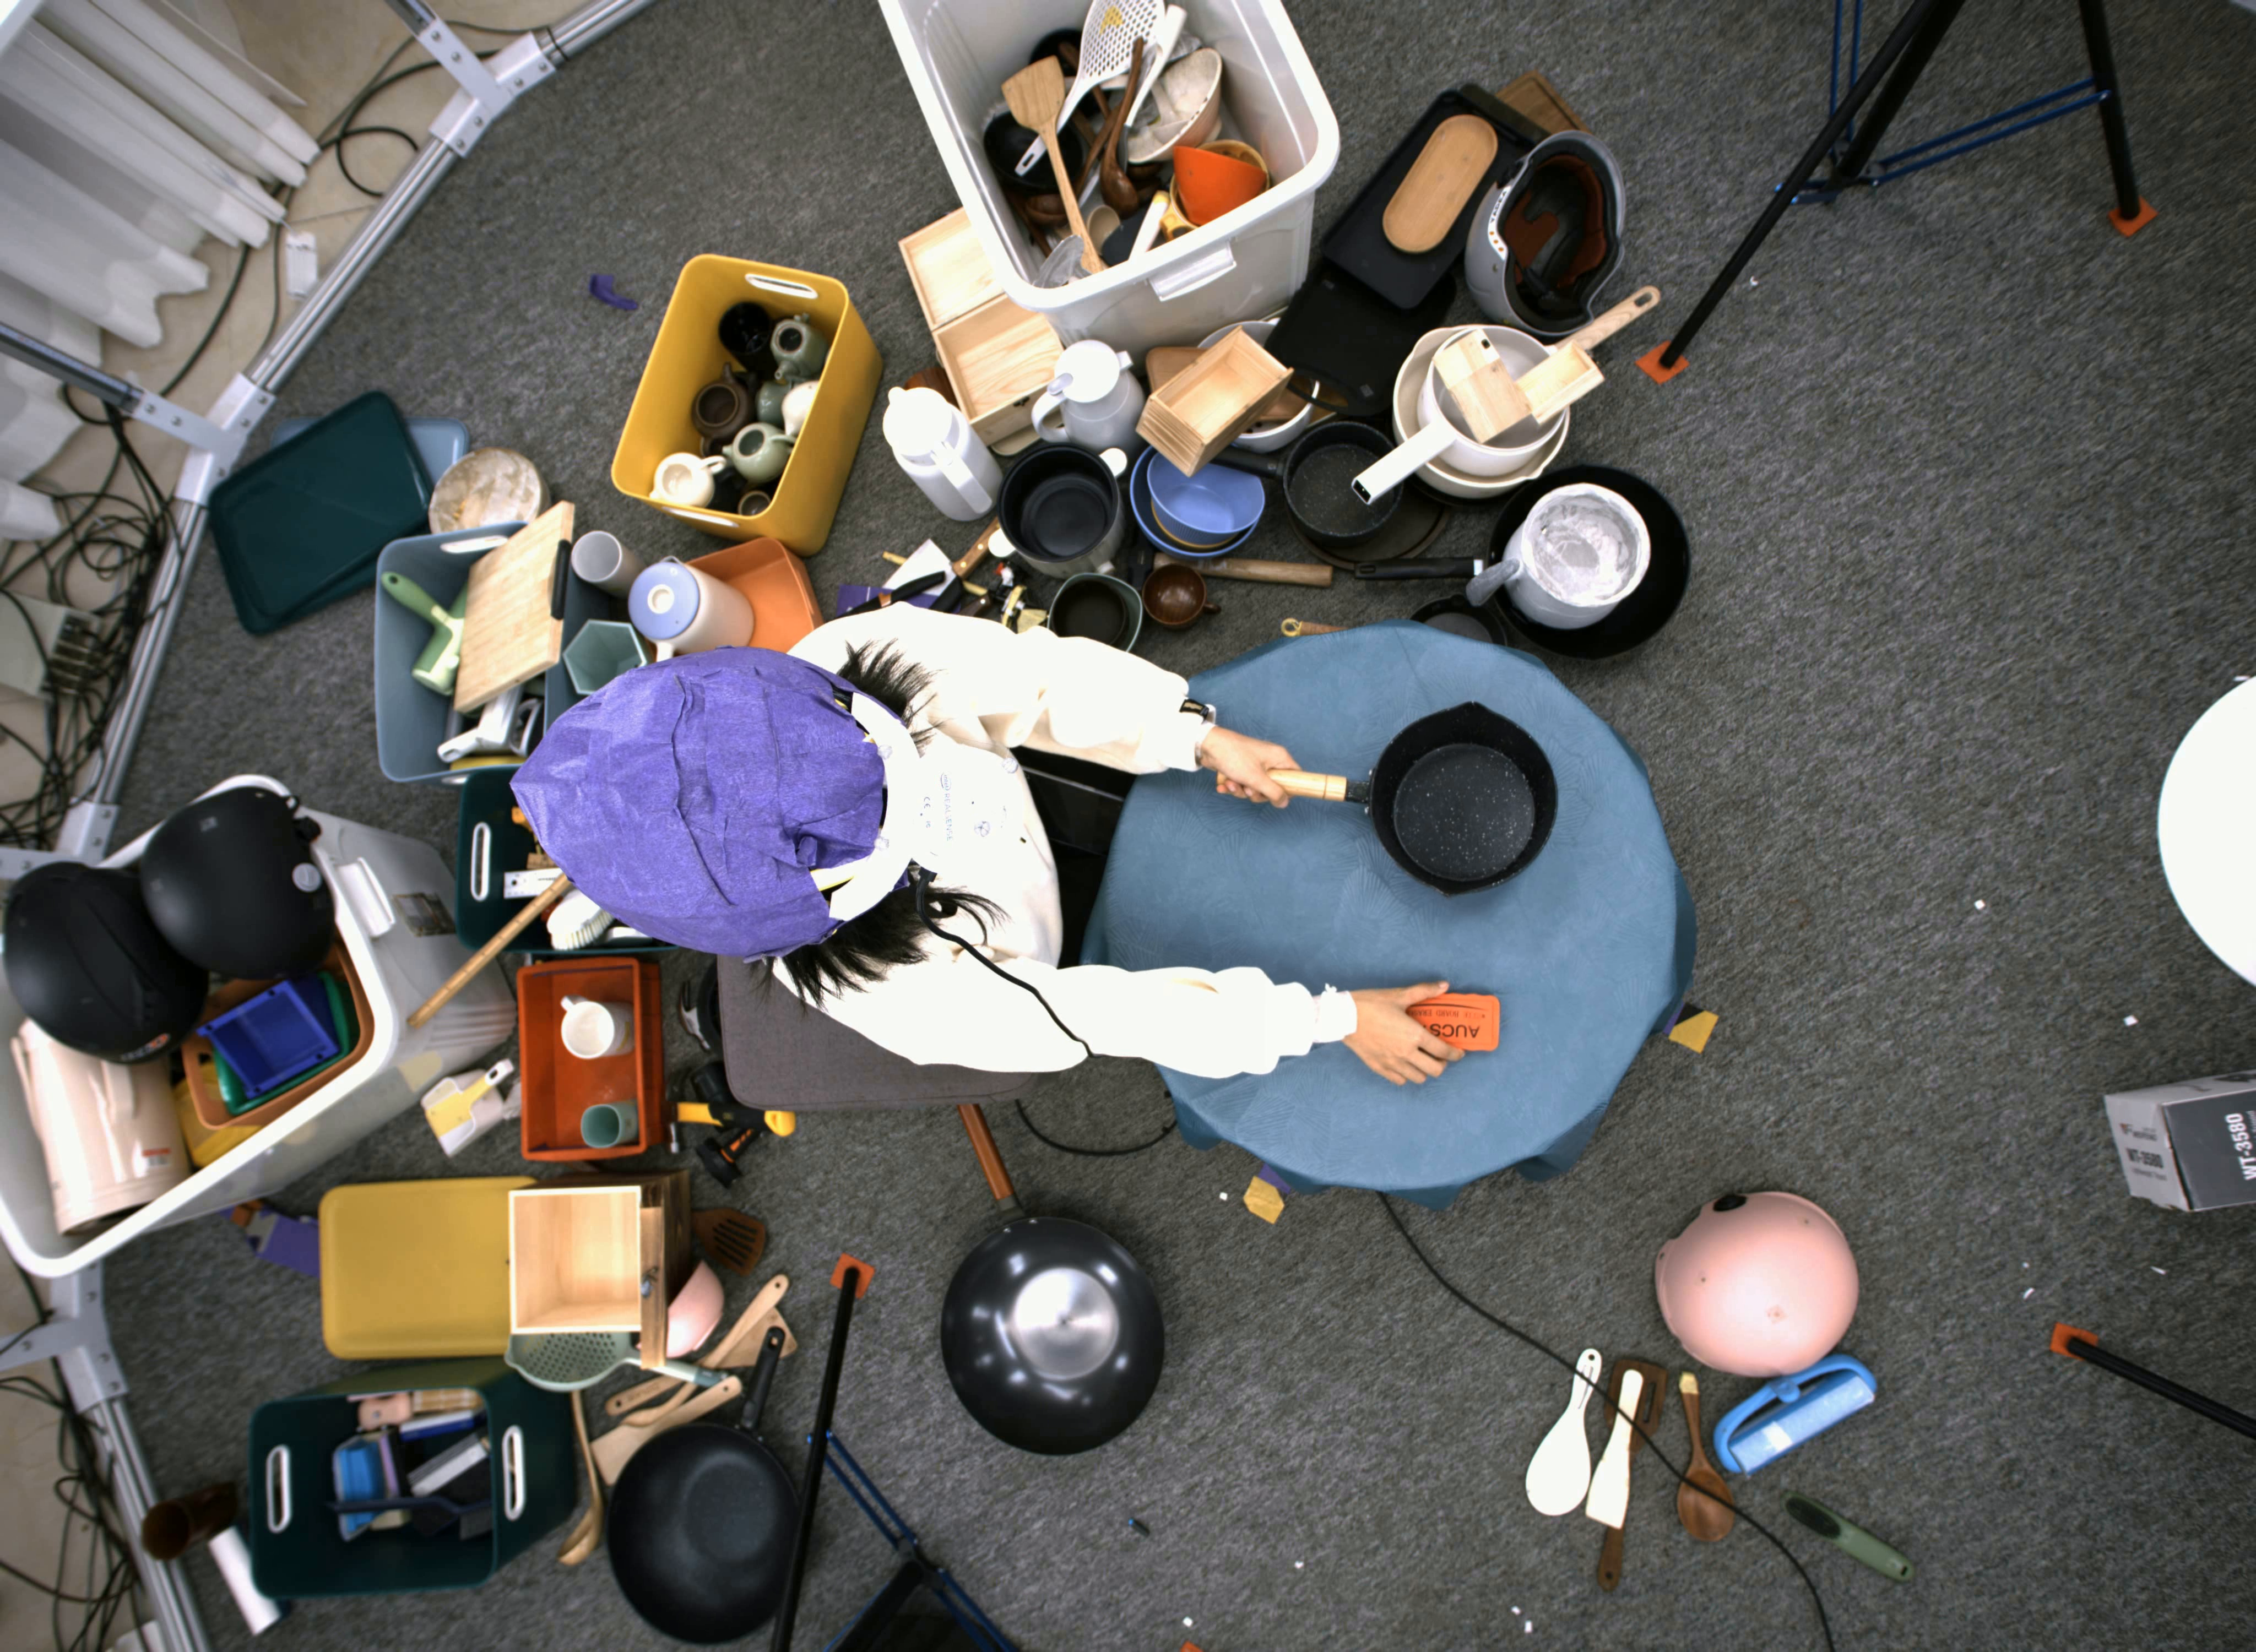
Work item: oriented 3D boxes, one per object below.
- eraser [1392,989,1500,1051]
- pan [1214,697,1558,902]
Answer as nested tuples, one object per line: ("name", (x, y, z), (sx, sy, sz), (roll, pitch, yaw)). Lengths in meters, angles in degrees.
("eraser", (0.329, 0.199, 1.431), (0.108, 0.023, 0.059), (3, 88, 11))
("pan", (0.262, -0.031, 1.412), (0.344, 0.108, 0.206), (5, 86, 14))
